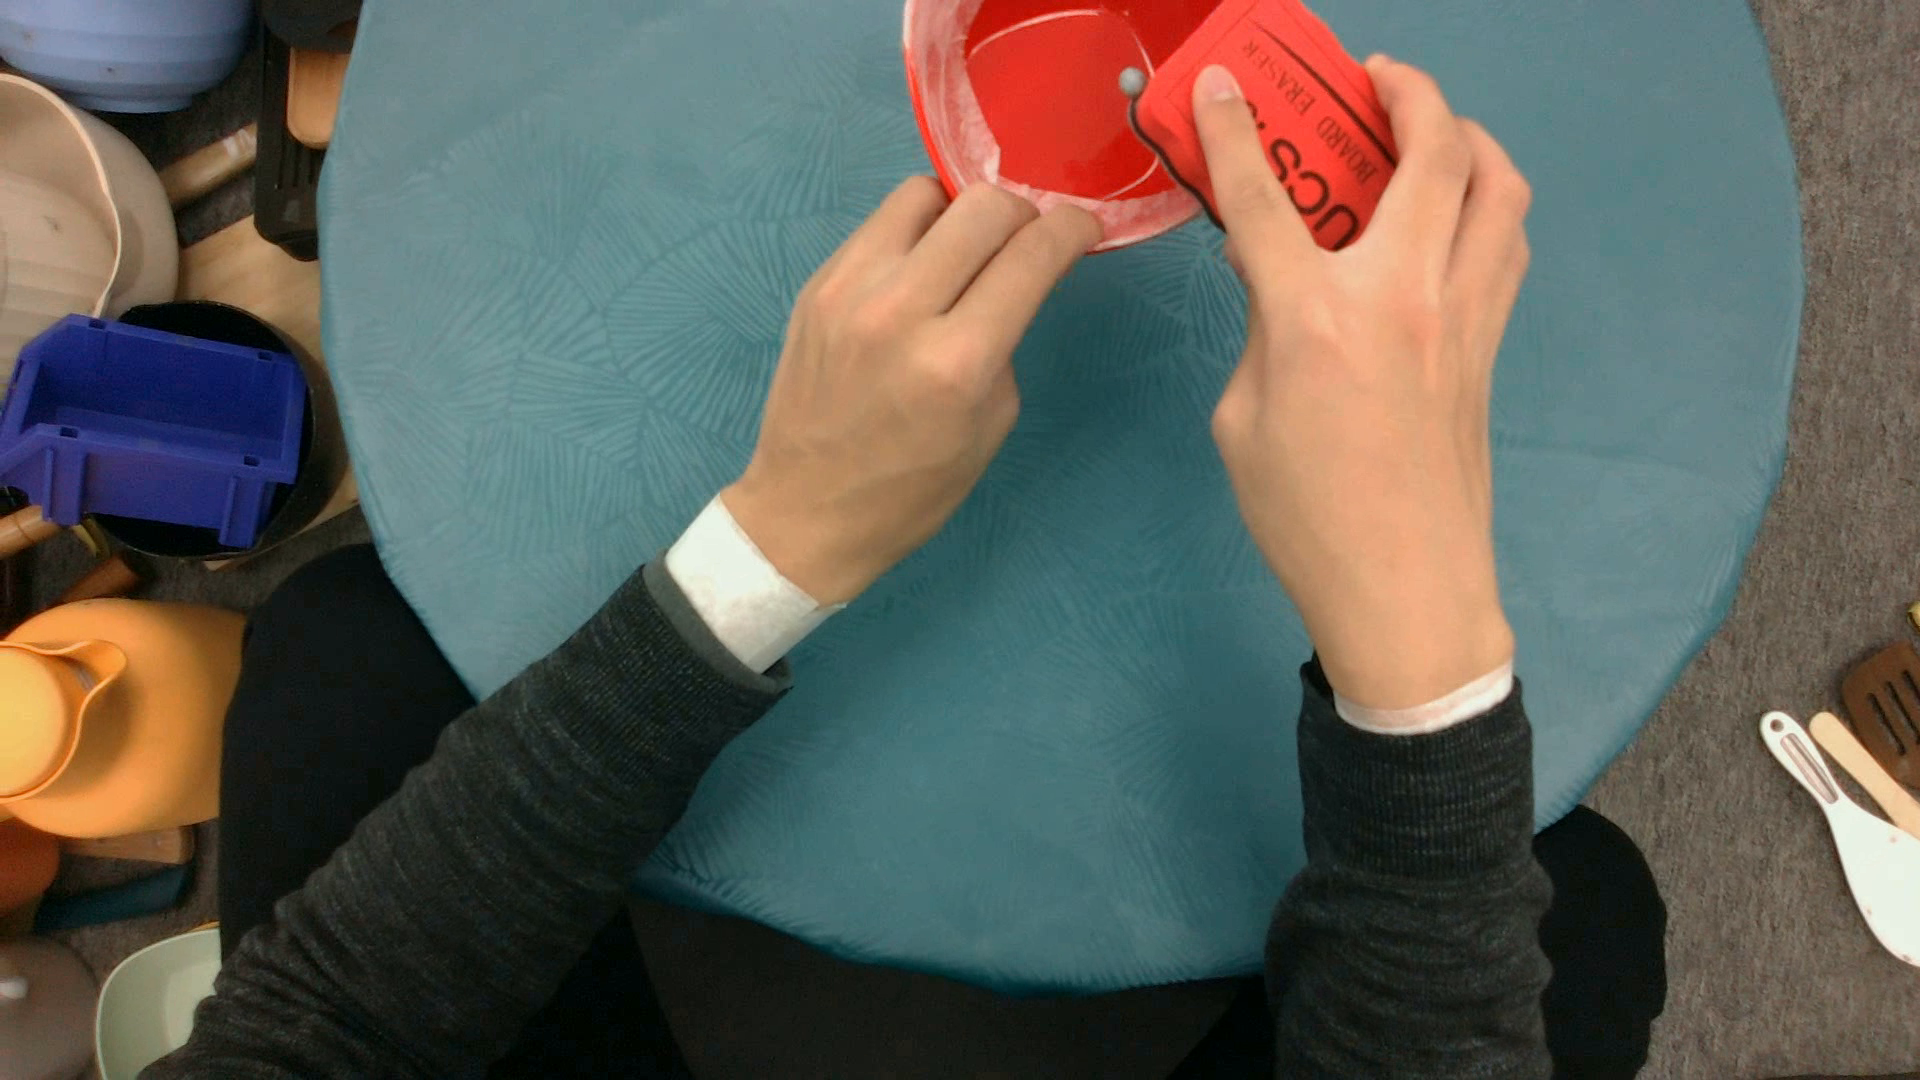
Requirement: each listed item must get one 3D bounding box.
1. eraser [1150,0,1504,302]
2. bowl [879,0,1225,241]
[{"bbox_3d":[0.116,-0.126,0.431,0.108,0.023,0.059,33,86,-15],"label":"eraser"},{"bbox_3d":[0.030,-0.149,0.452,0.119,0.051,0.119,0,87,-6],"label":"bowl"}]
